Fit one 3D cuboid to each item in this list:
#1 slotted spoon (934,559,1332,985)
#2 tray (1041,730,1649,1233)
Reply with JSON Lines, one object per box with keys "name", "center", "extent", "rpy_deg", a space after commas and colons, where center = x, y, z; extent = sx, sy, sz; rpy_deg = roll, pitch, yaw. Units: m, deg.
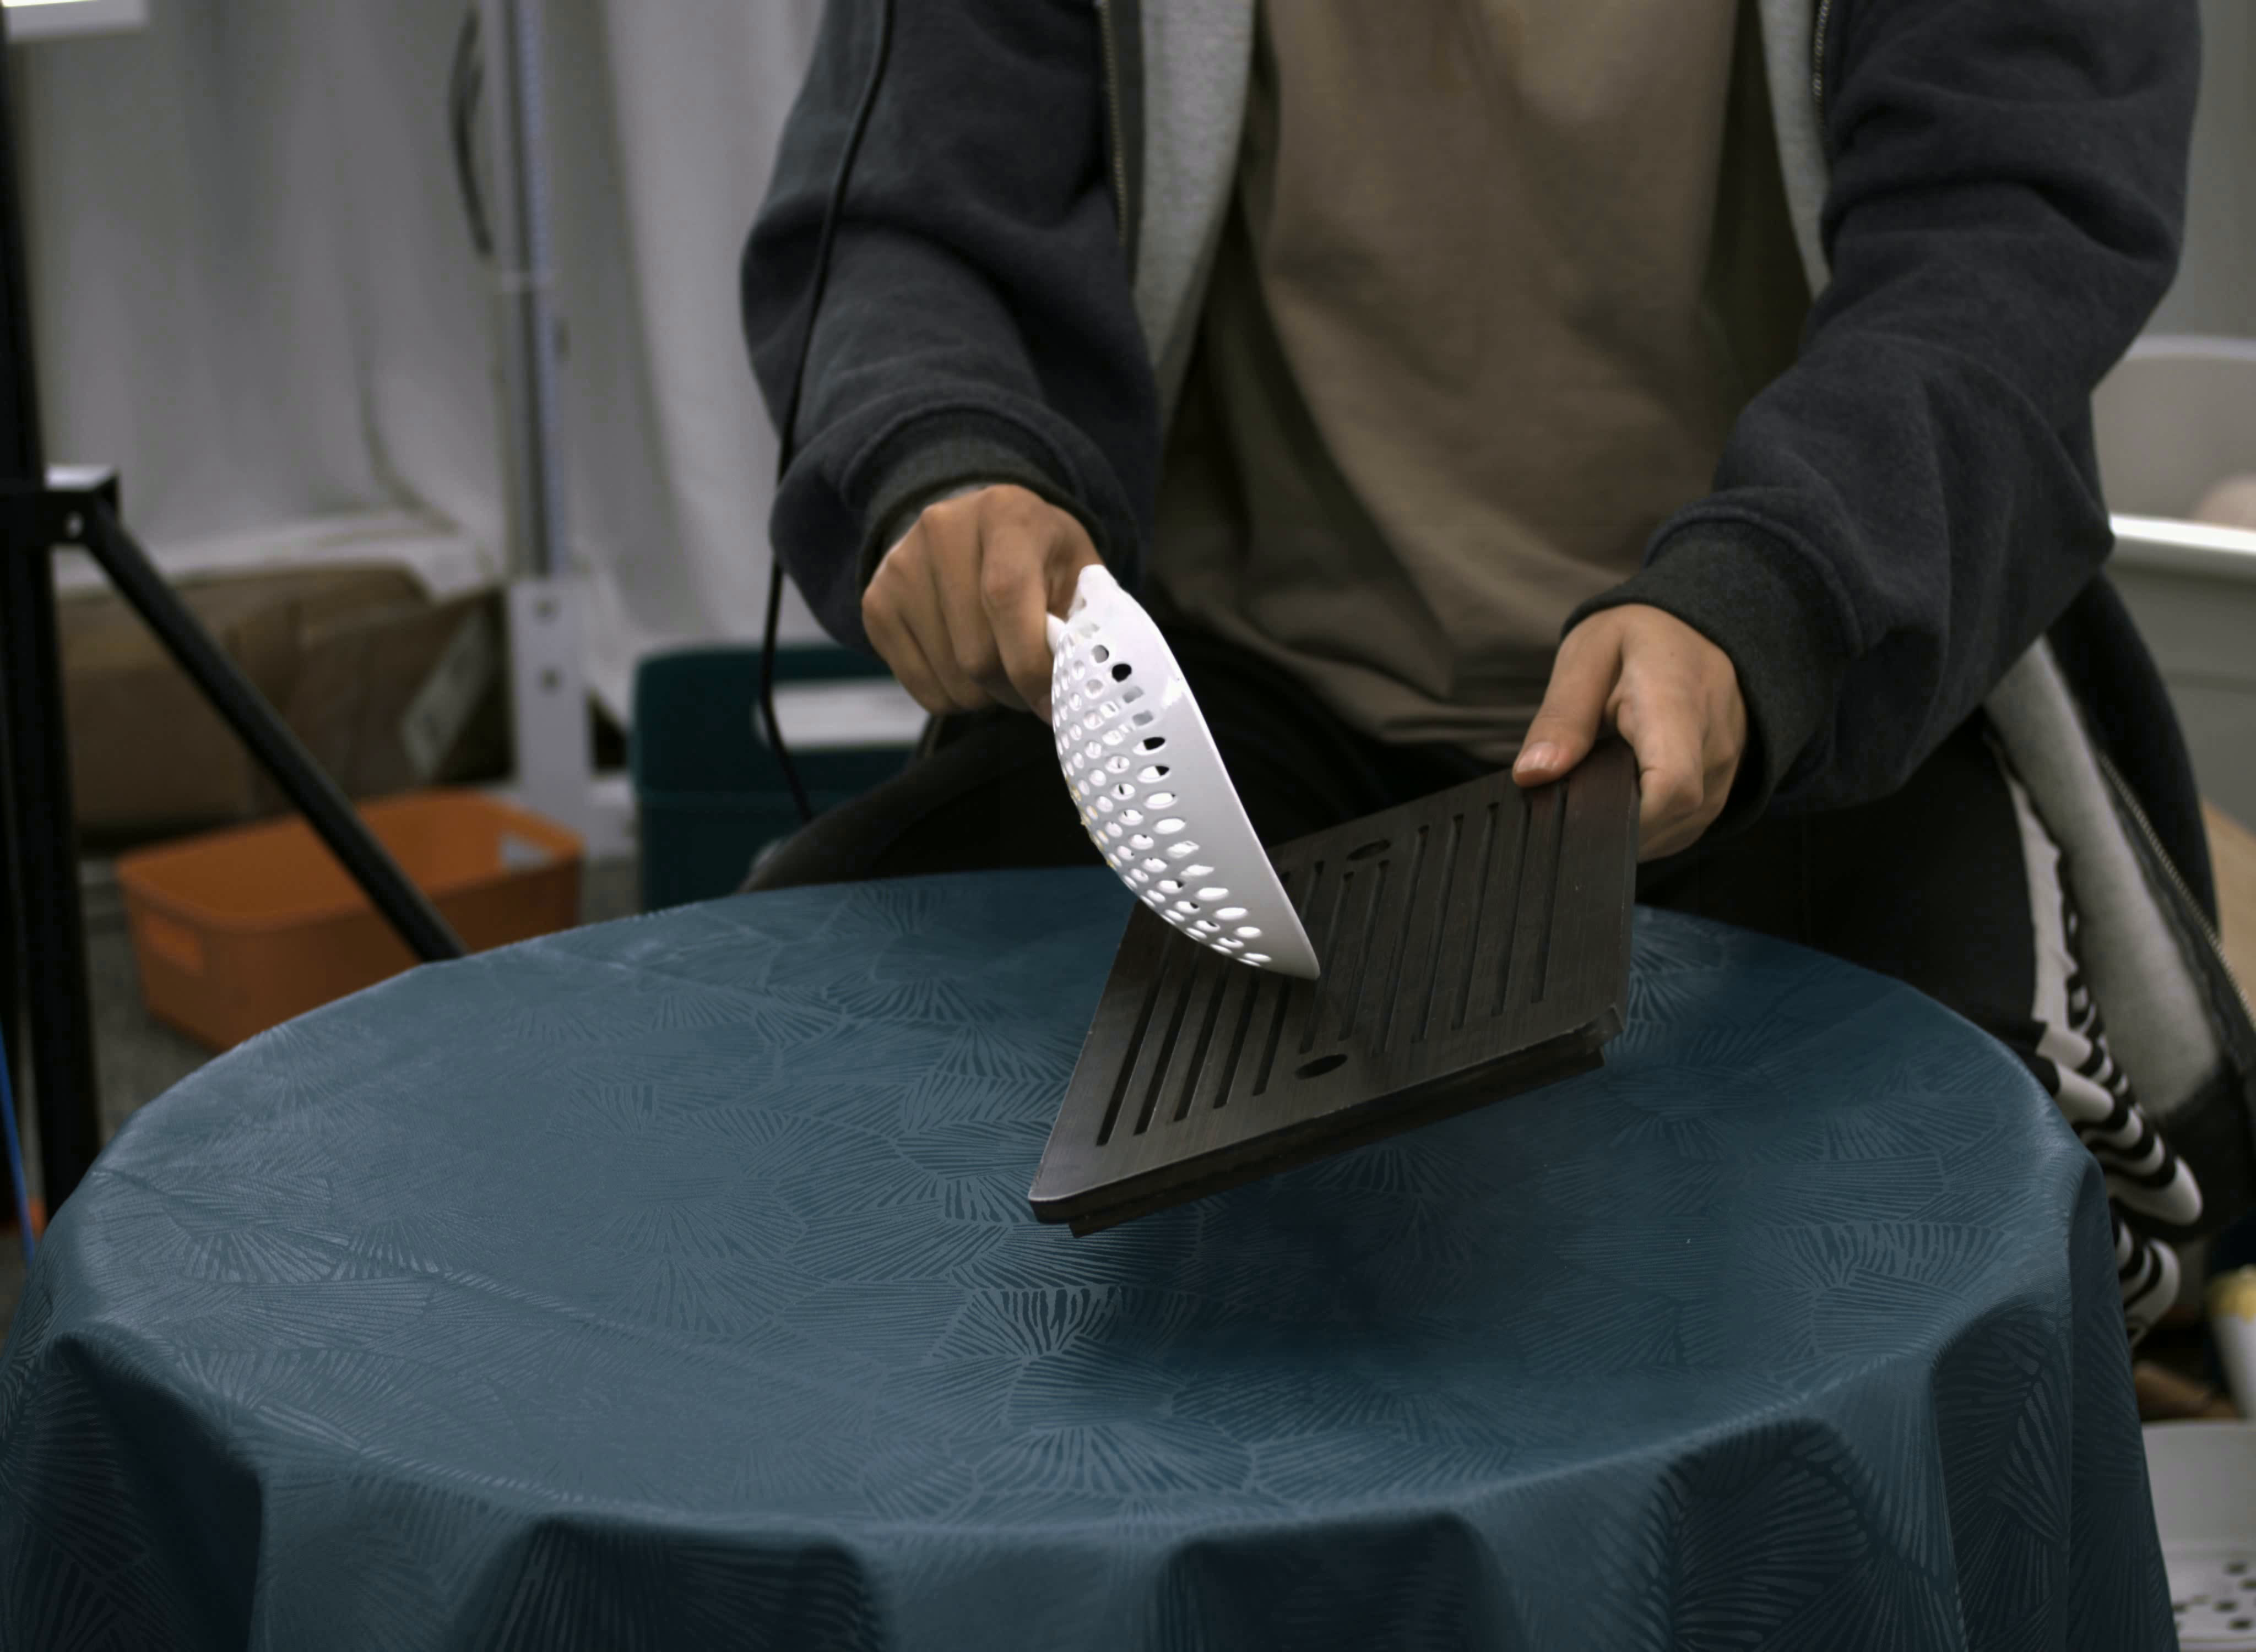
{"name": "slotted spoon", "center": [-0.012, -0.037, 1.638], "extent": [0.050, 0.136, 0.351], "rpy_deg": [-27, 18, -1]}
{"name": "tray", "center": [0.072, 0.042, 1.547], "extent": [0.171, 0.018, 0.305], "rpy_deg": [-19, 13, 12]}
